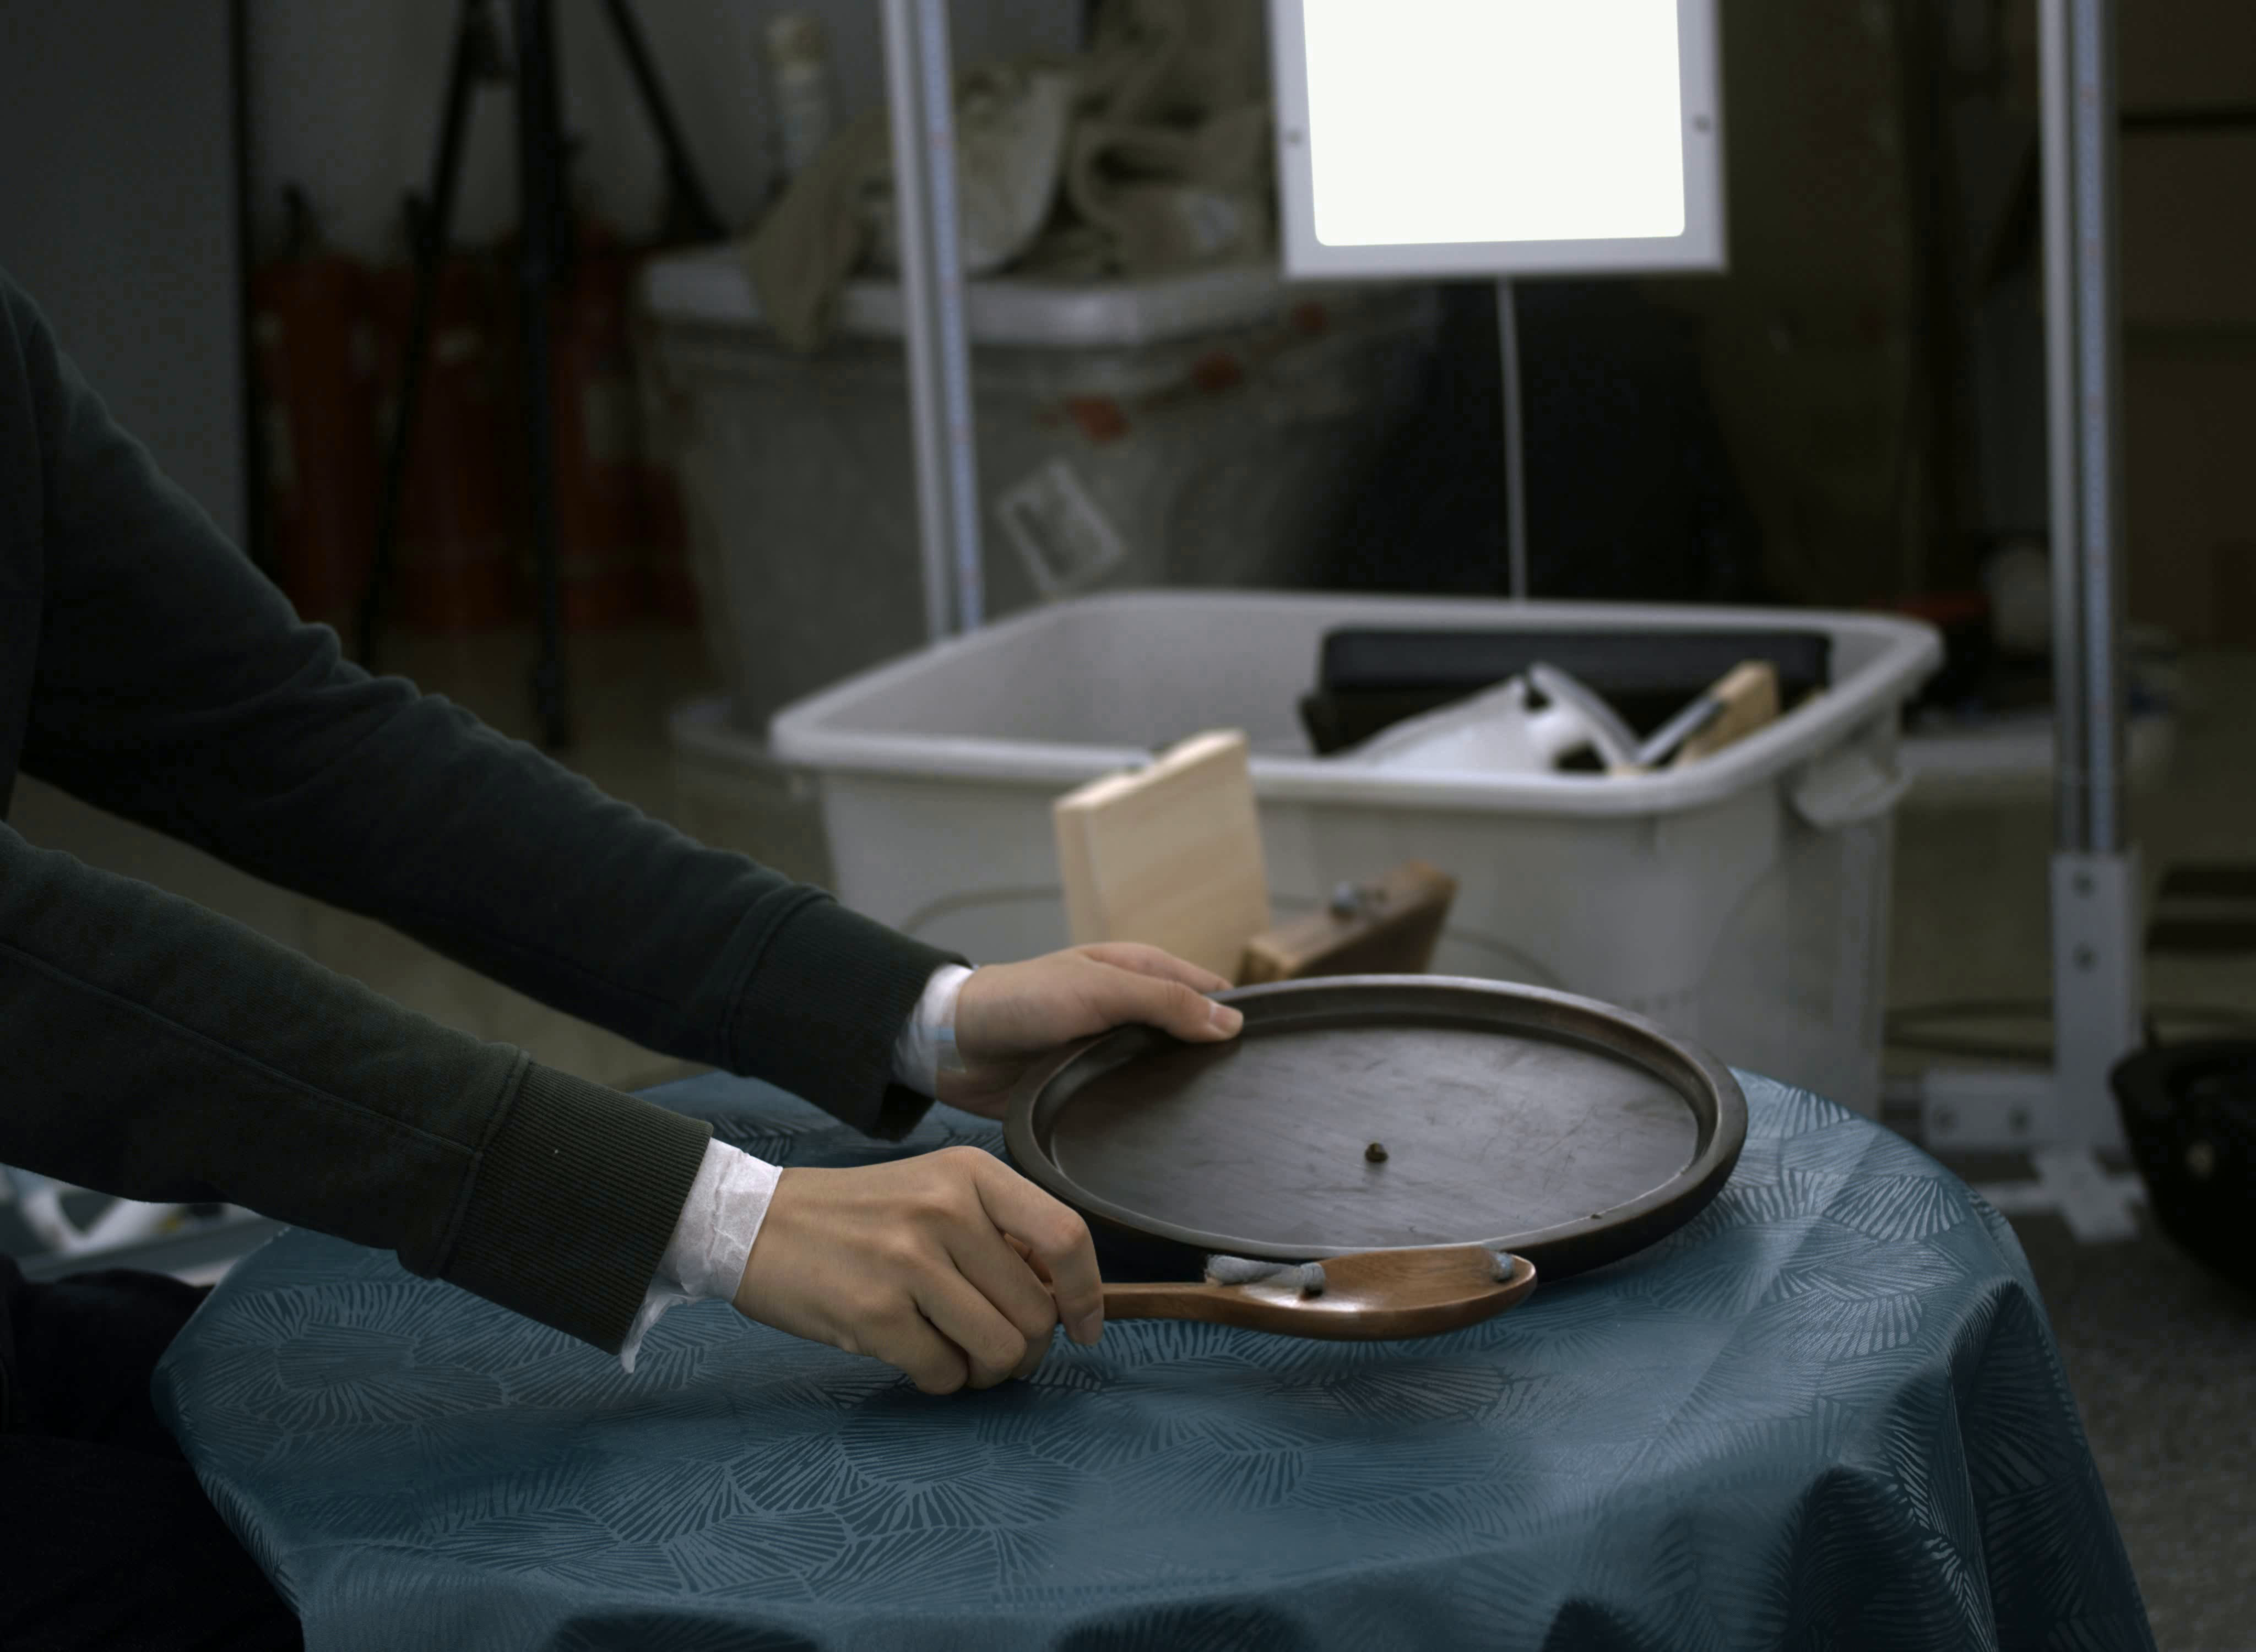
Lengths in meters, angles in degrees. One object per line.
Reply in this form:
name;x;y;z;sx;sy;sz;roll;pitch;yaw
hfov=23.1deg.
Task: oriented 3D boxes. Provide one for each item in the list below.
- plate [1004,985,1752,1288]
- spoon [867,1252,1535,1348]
plate;0.084;0.104;1.859;0.254;0.029;0.254;-2;19;-1
spoon;0.021;0.148;1.697;0.219;0.017;0.074;-2;11;22
